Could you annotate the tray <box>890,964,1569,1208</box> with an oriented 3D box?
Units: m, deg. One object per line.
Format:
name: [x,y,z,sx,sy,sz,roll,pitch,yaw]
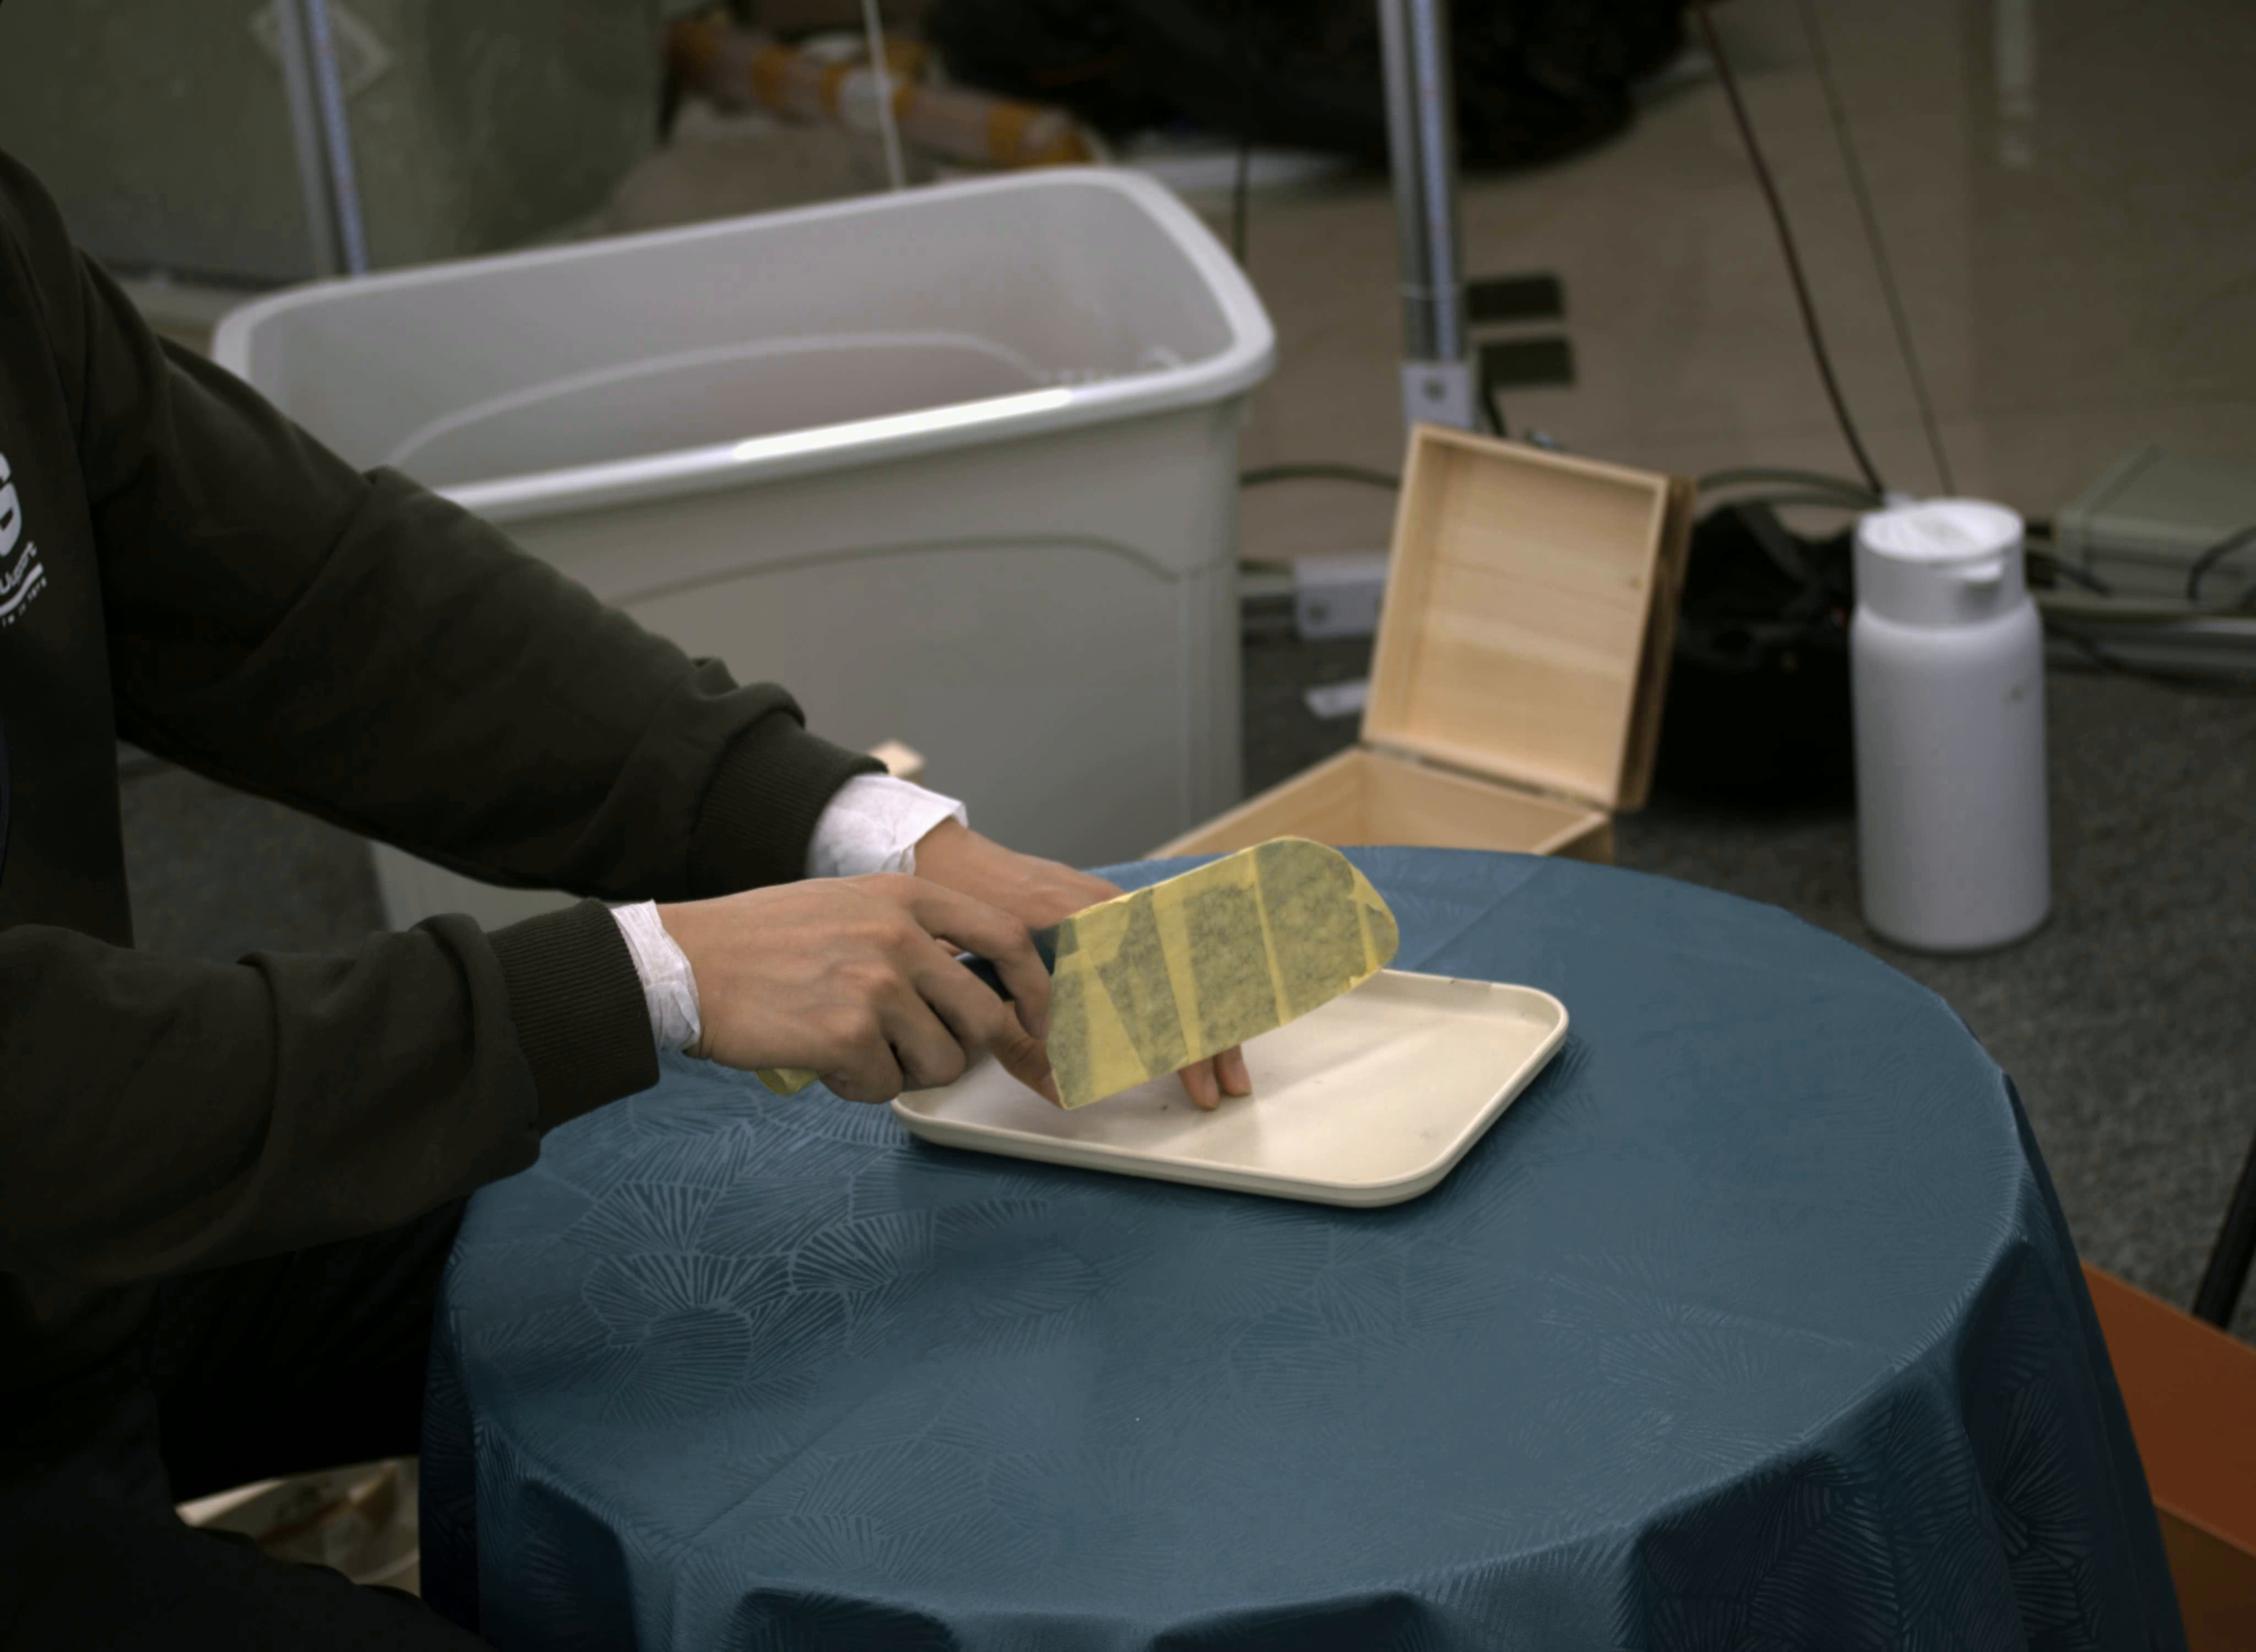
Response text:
tray: [0.040,0.096,2.213,0.239,0.018,0.169,7,28,27]

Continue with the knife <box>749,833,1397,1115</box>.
knife: [-0.015,0.066,2.147,0.288,0.082,0.027,-16,13,-30]
